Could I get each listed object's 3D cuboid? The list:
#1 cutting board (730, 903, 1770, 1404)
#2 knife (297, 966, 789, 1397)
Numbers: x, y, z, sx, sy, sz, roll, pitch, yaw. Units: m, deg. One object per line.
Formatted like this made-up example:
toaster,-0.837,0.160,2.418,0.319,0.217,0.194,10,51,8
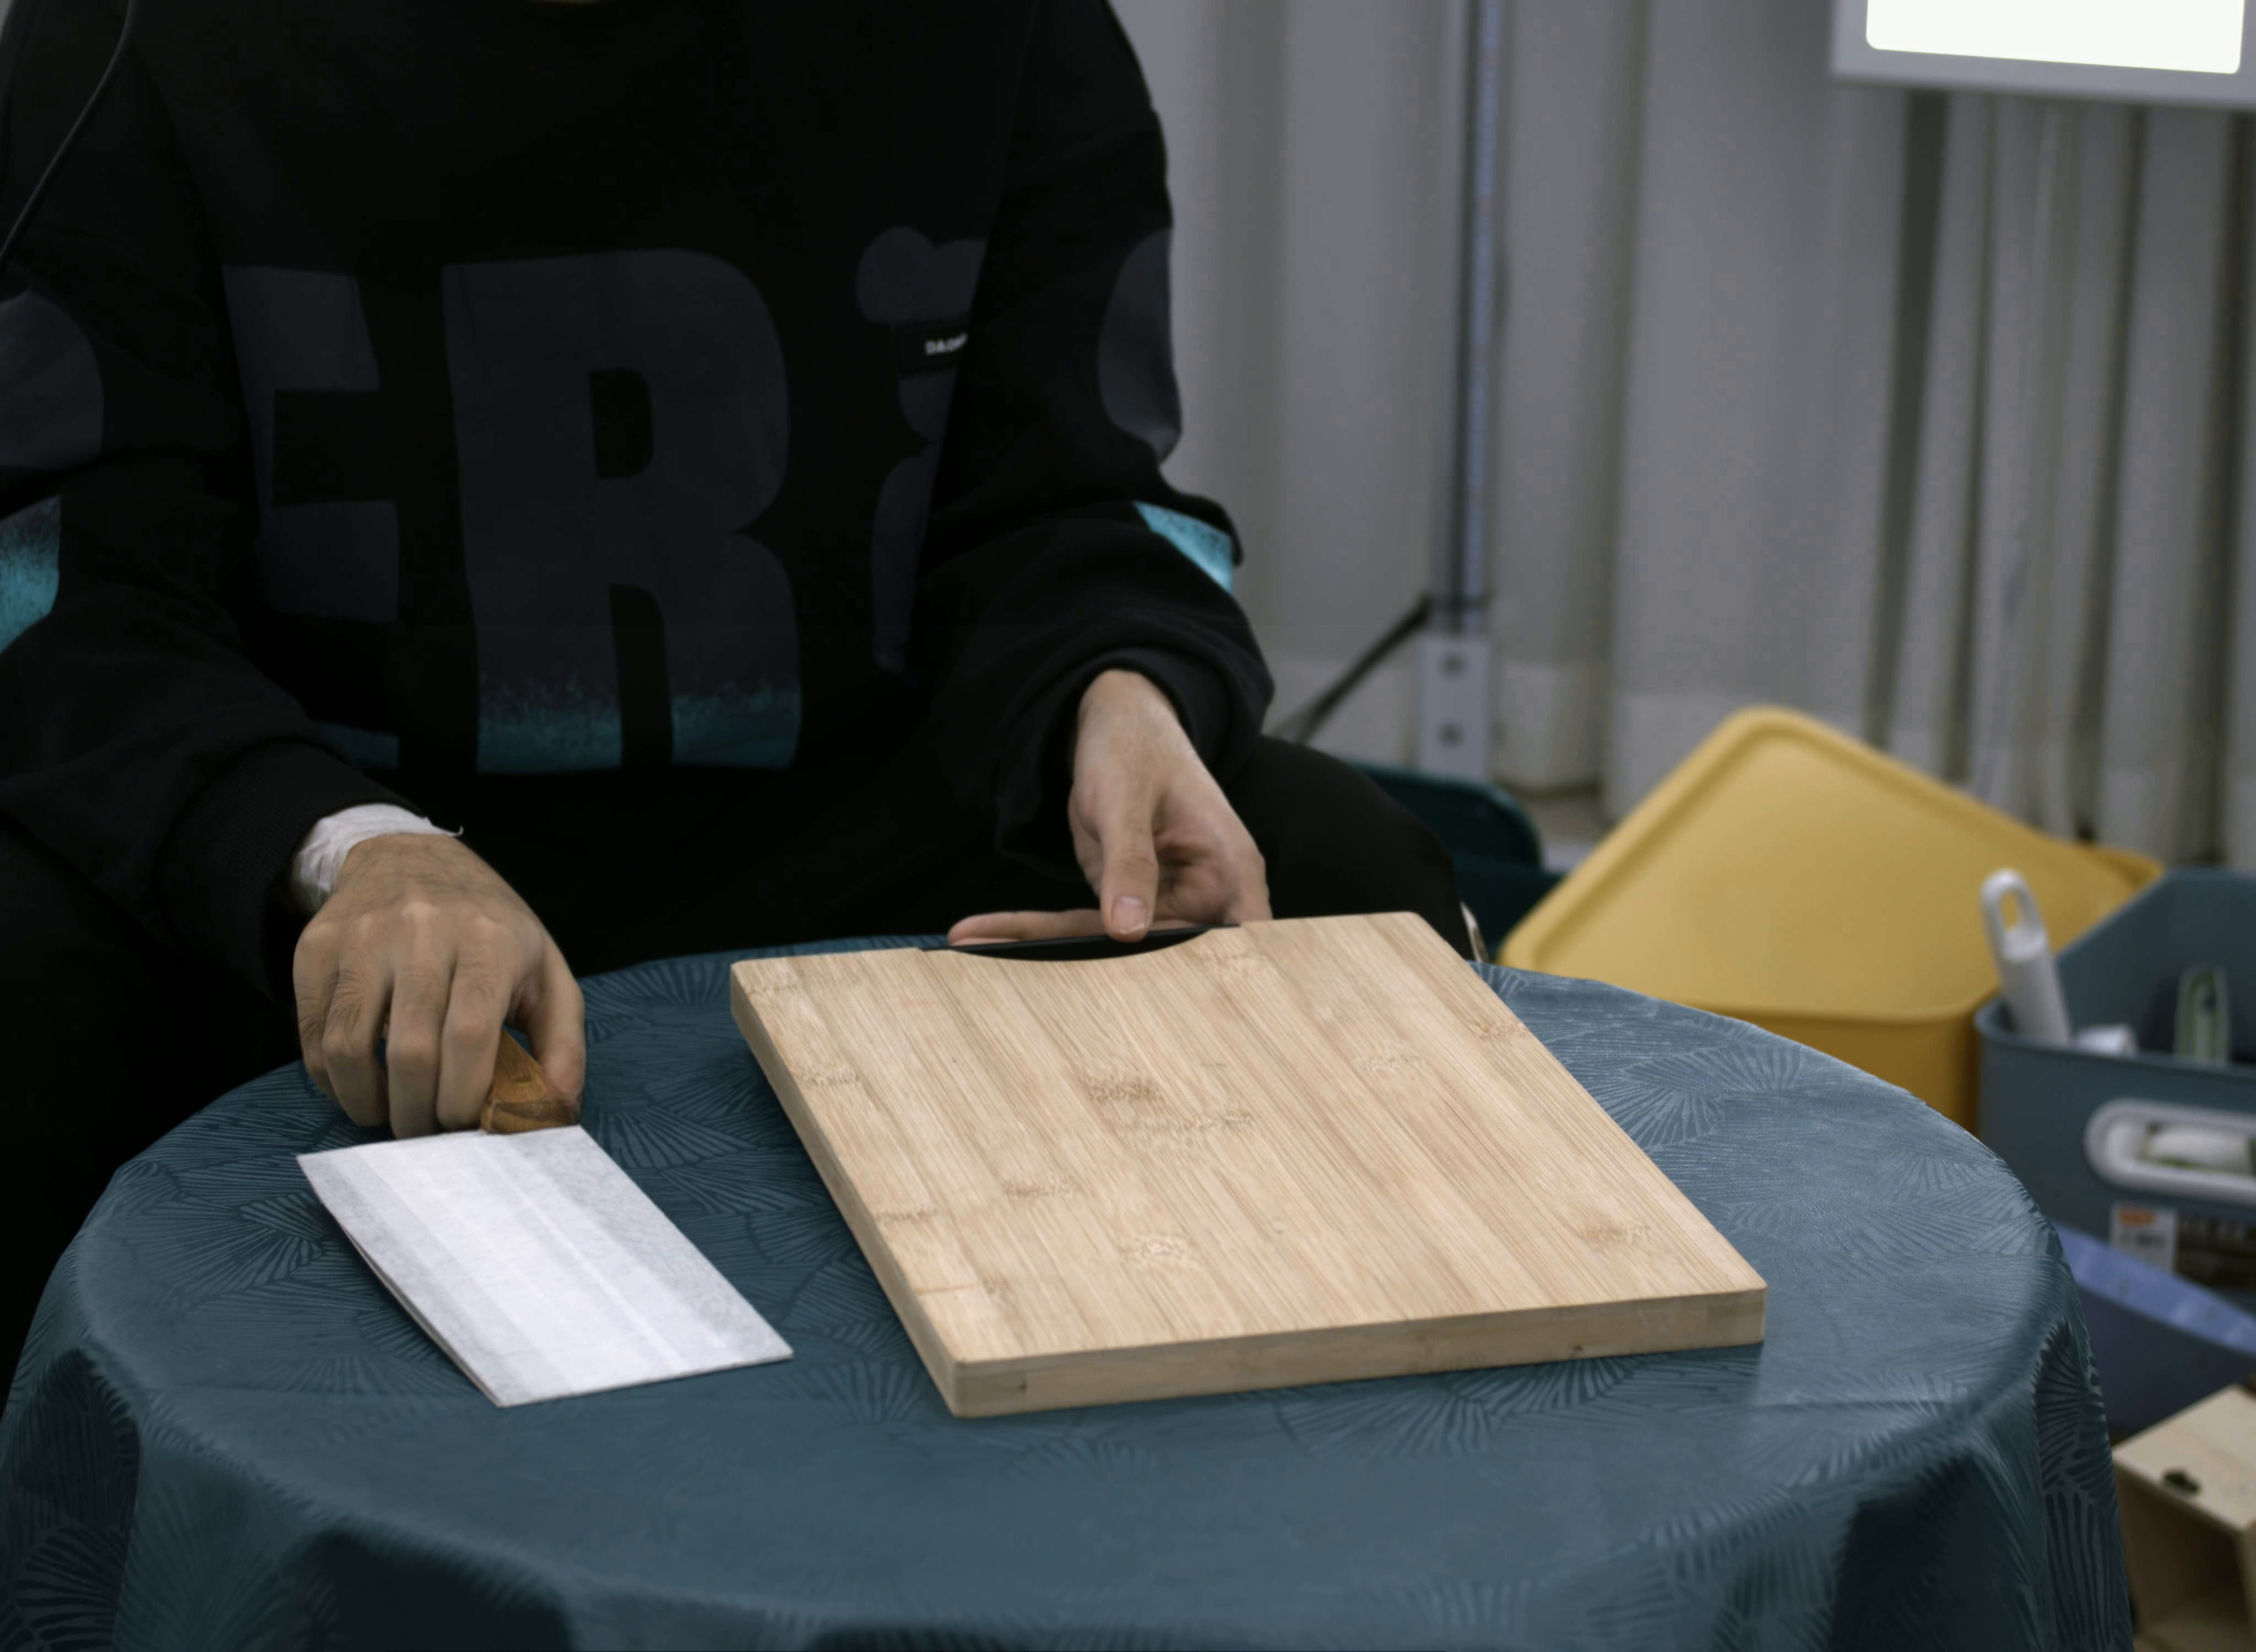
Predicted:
cutting board,0.025,0.095,1.629,0.251,0.024,0.345,-4,19,-15
knife,-0.197,0.106,1.592,0.093,0.021,0.302,-8,22,-24
